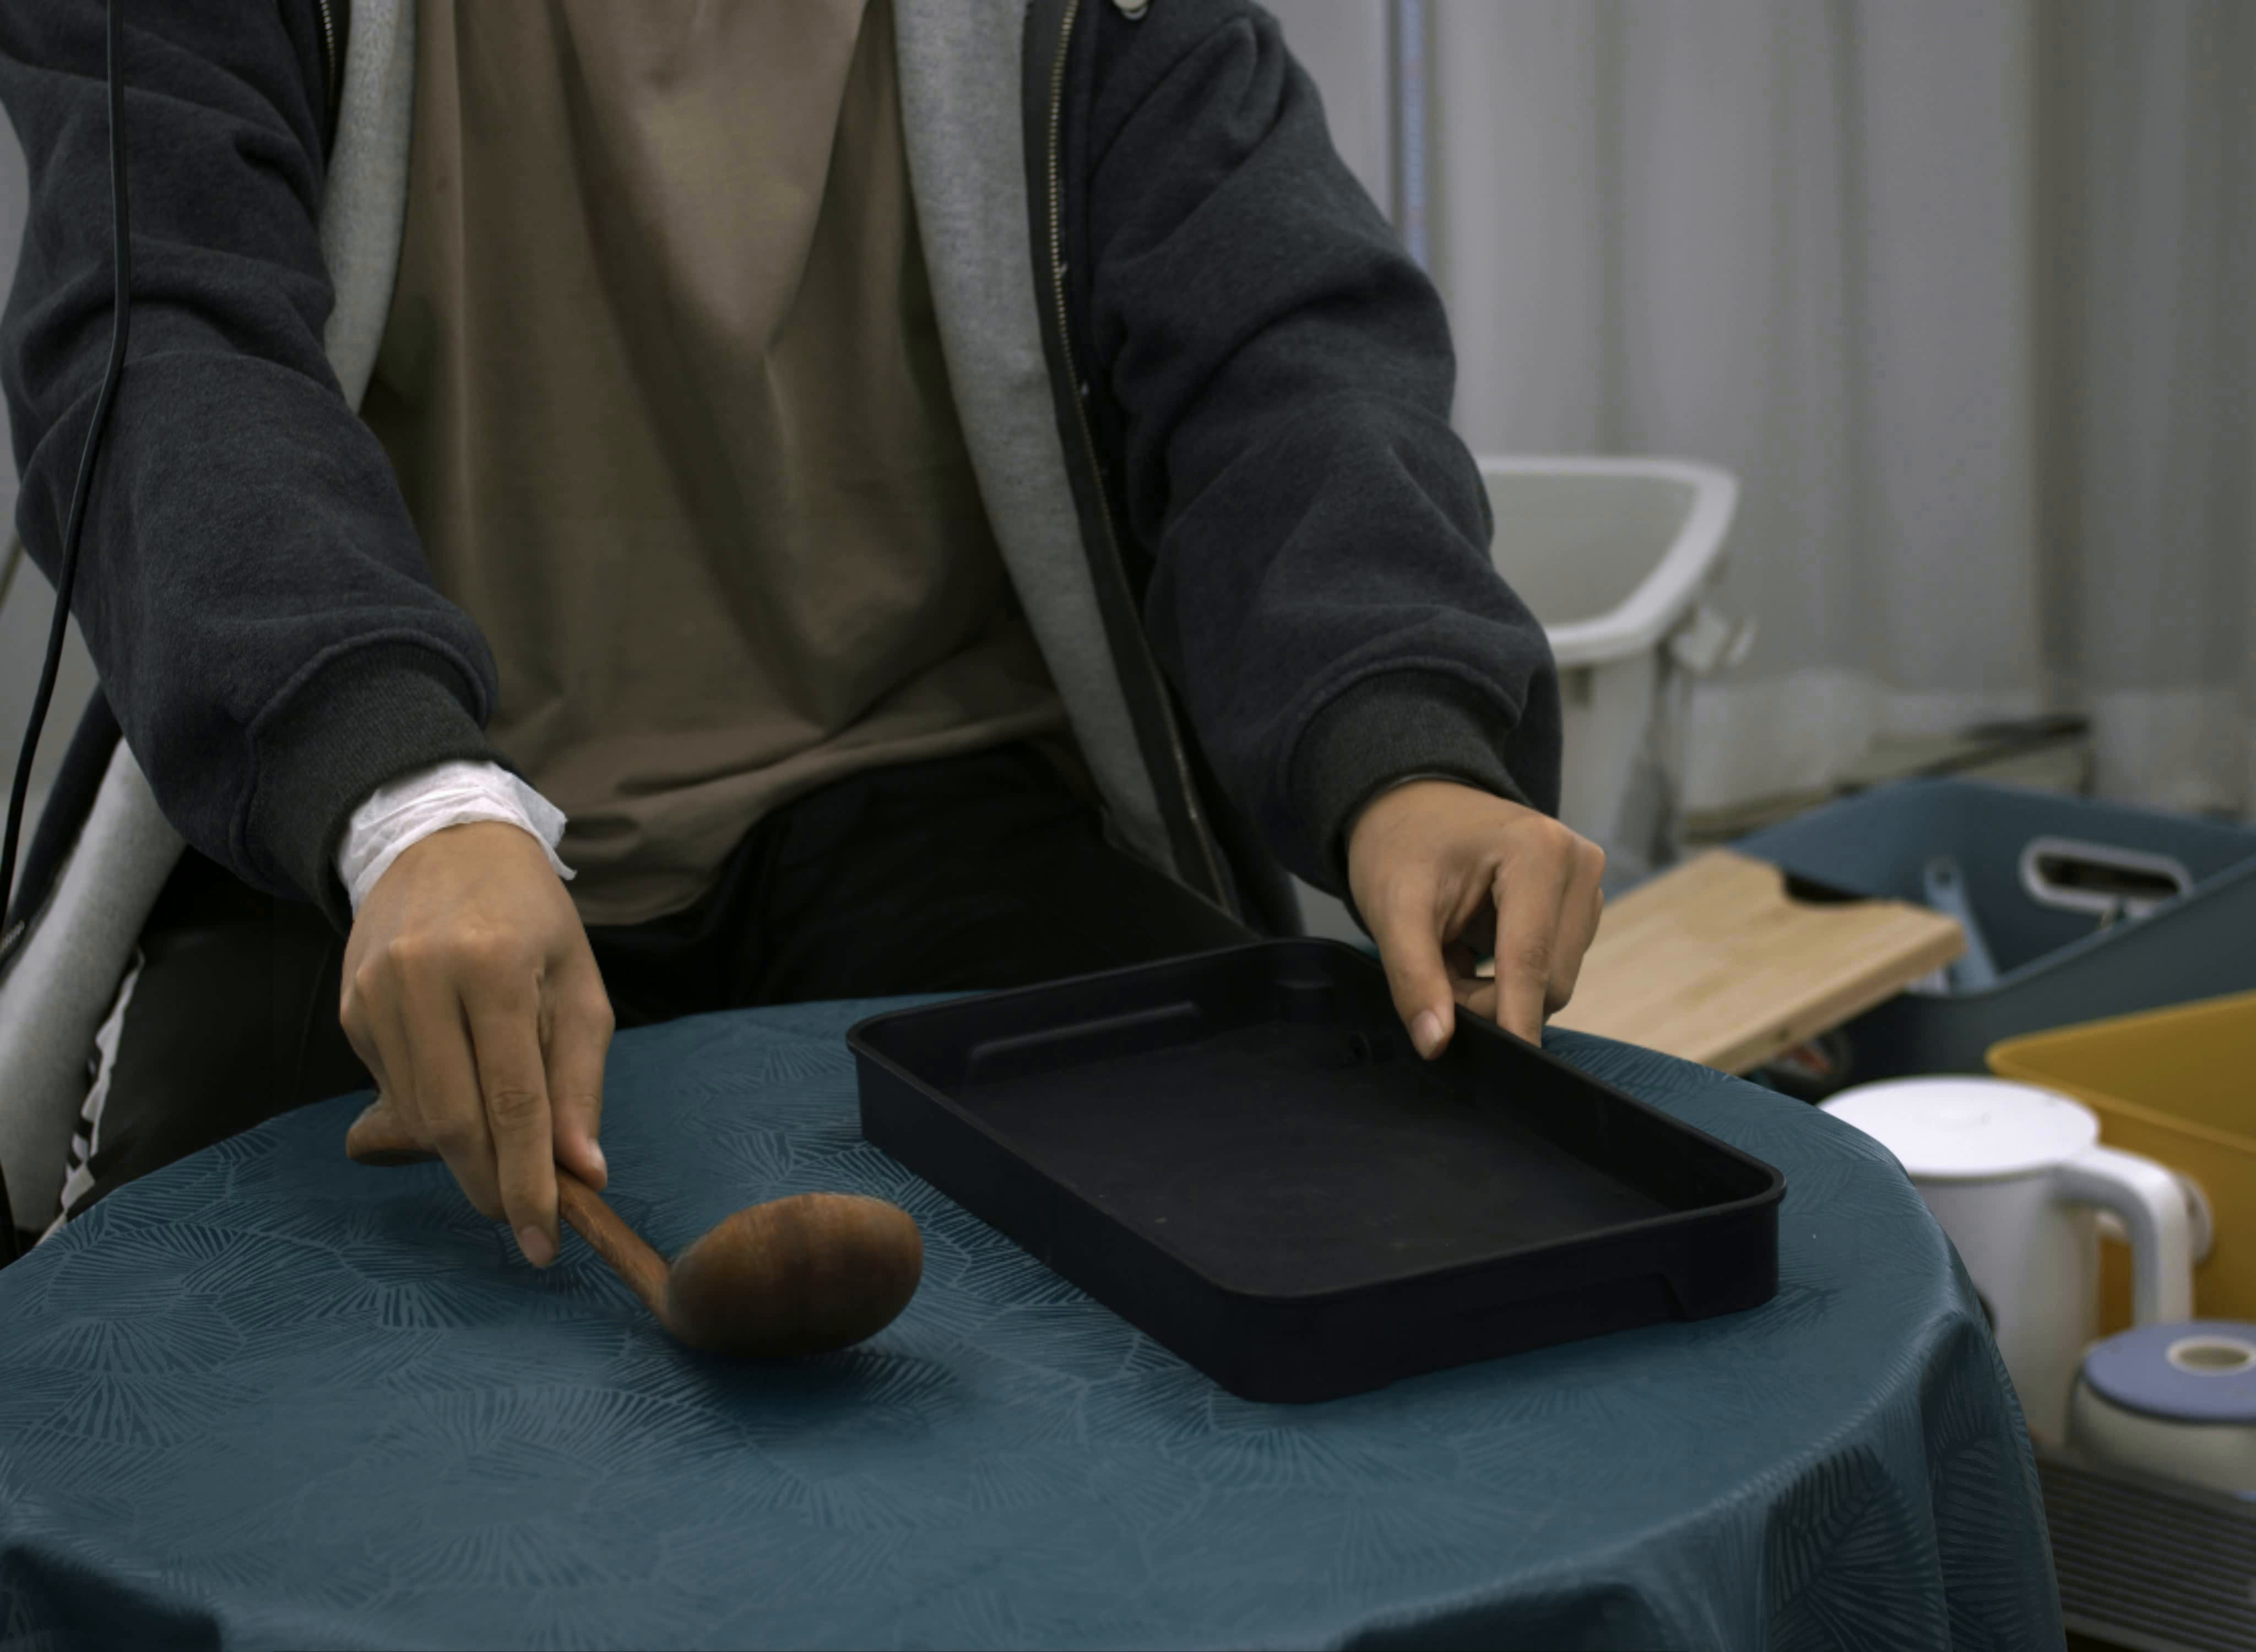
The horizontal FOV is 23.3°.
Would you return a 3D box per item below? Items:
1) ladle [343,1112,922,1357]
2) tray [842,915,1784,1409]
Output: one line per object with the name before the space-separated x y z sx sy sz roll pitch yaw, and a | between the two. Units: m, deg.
ladle | -0.156 0.105 1.636 0.076 0.065 0.262 19 1 -40
tray | 0.050 0.098 1.690 0.183 0.037 0.320 -10 18 -23
